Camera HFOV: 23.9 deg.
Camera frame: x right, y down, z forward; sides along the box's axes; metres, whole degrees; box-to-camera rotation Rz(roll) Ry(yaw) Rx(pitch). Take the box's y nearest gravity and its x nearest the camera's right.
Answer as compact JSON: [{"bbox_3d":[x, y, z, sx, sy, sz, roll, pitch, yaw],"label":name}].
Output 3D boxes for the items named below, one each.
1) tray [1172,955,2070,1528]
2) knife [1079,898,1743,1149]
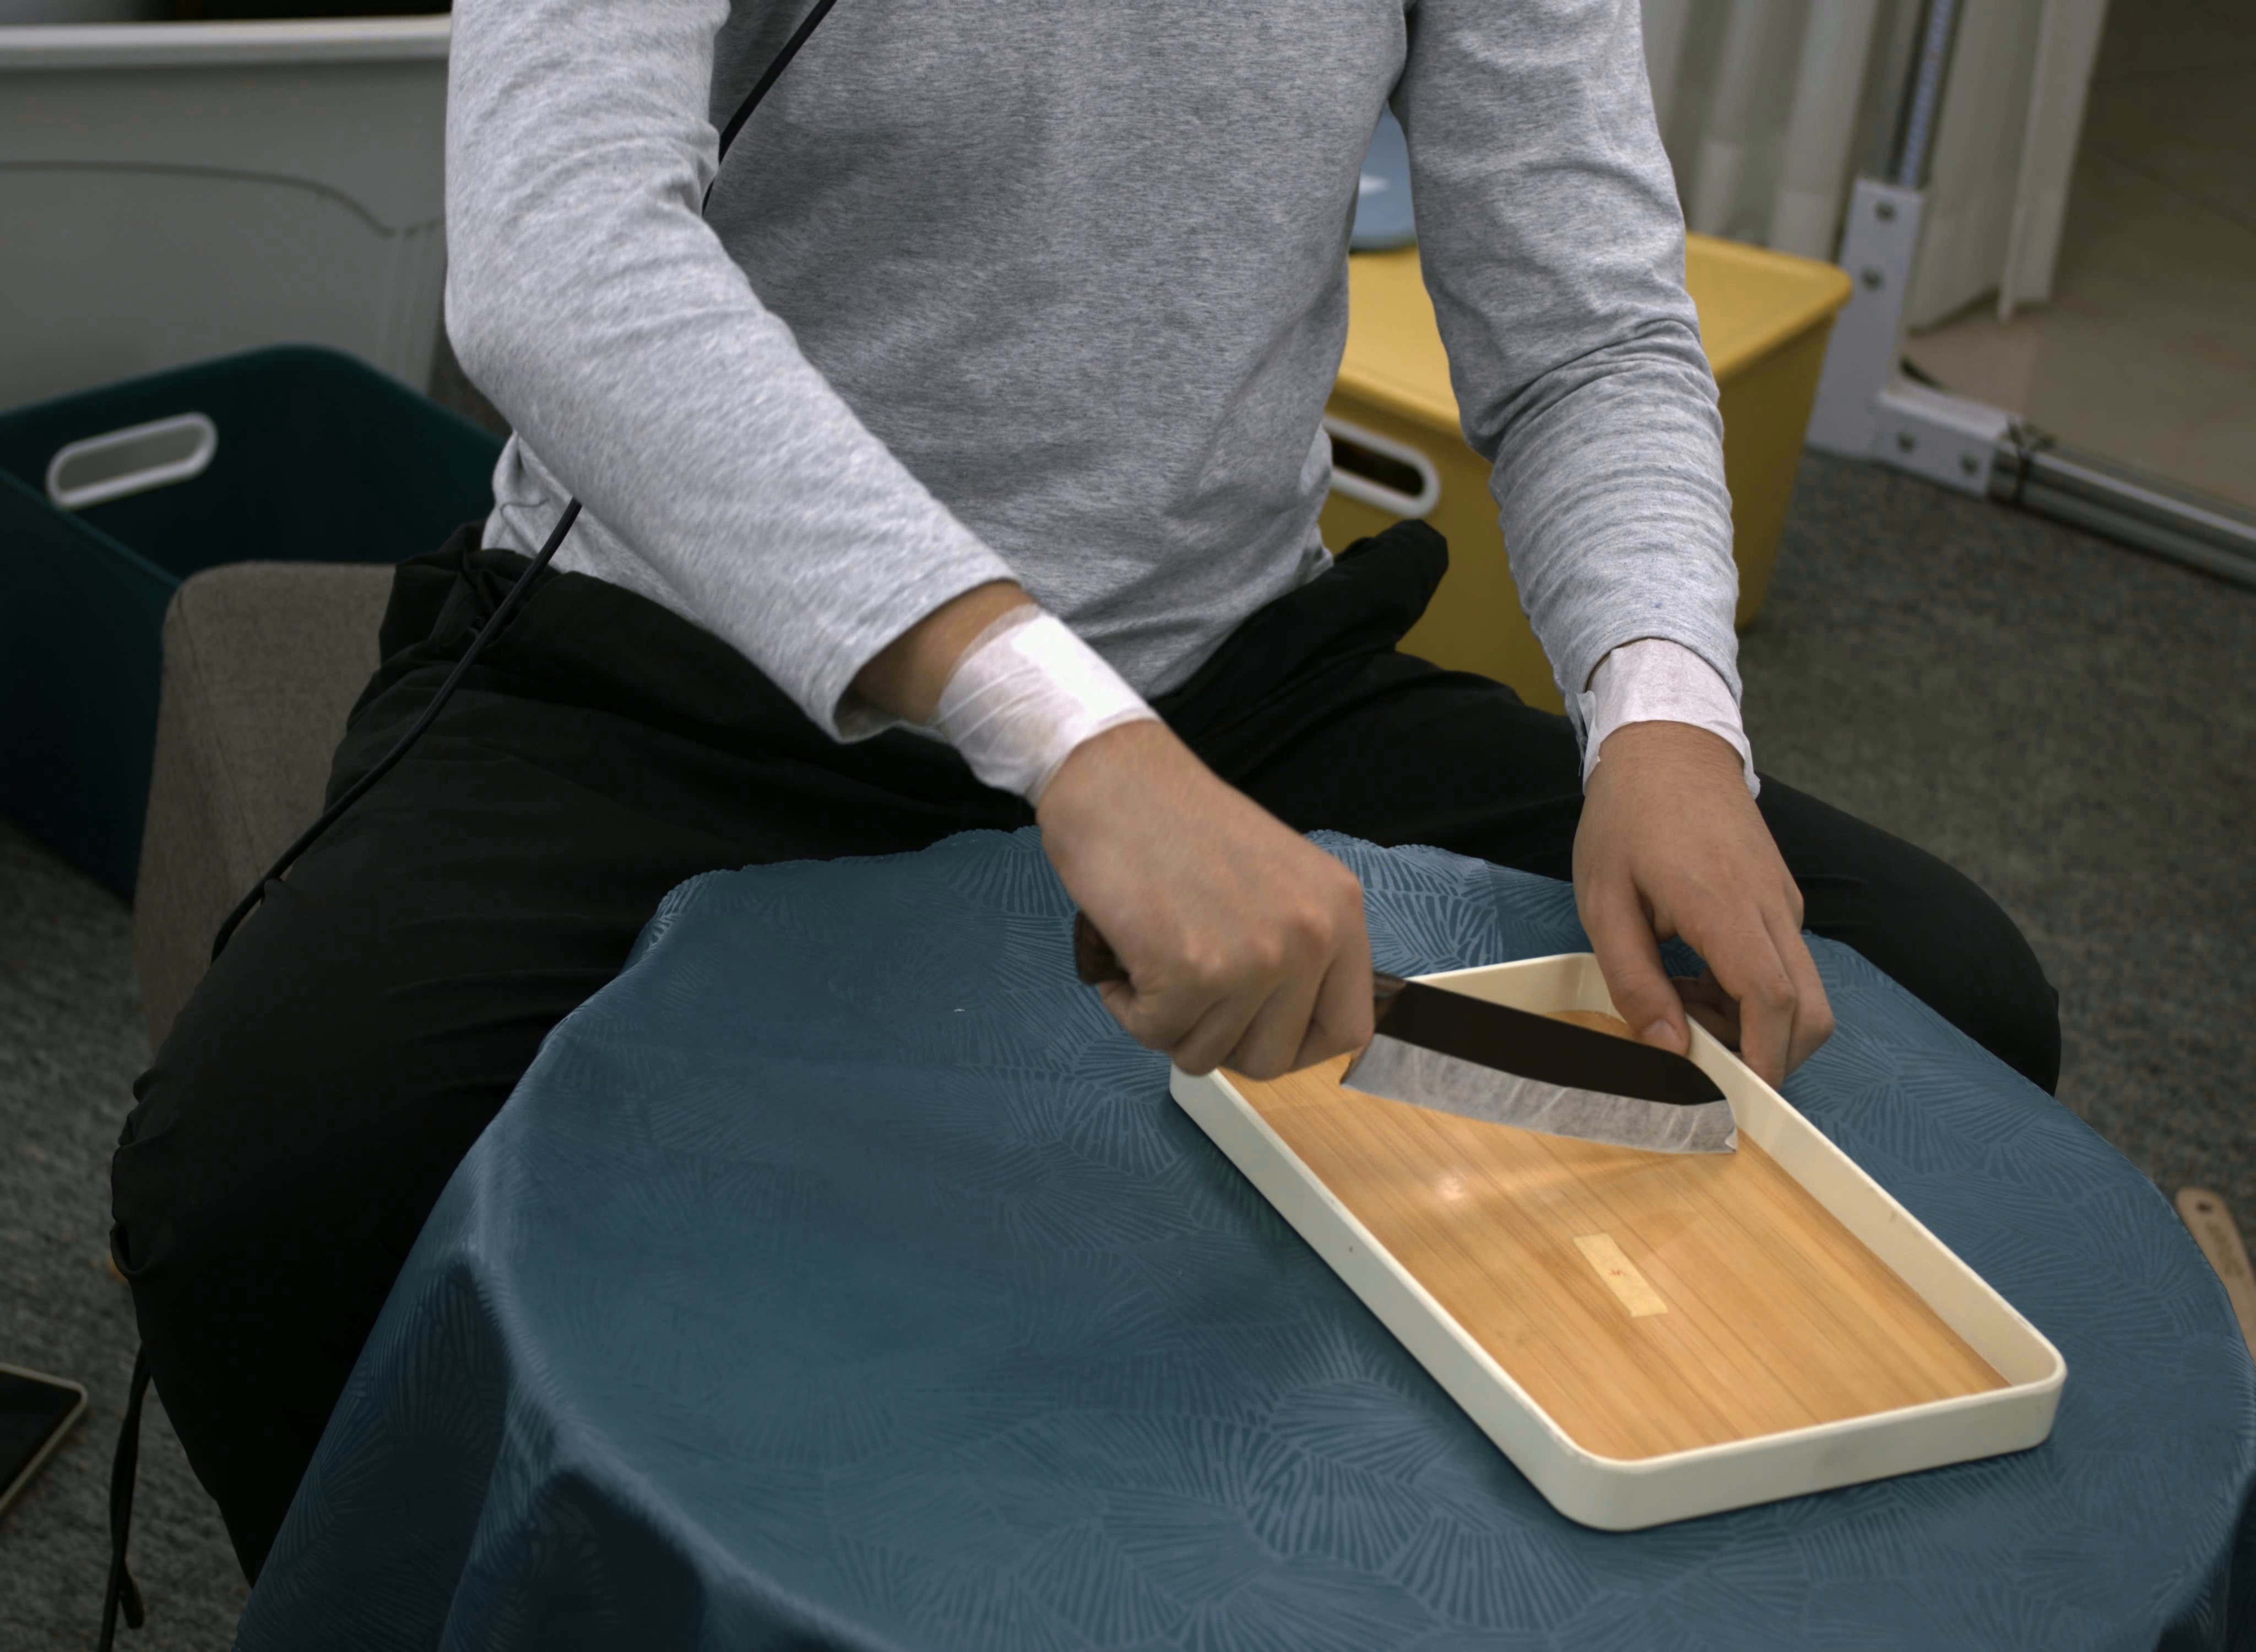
[{"bbox_3d":[0.159,0.133,1.794,0.190,0.027,0.303,-7,30,-26],"label":"tray"},{"bbox_3d":[0.100,0.070,1.786,0.286,0.050,0.020,19,21,-32],"label":"knife"}]
